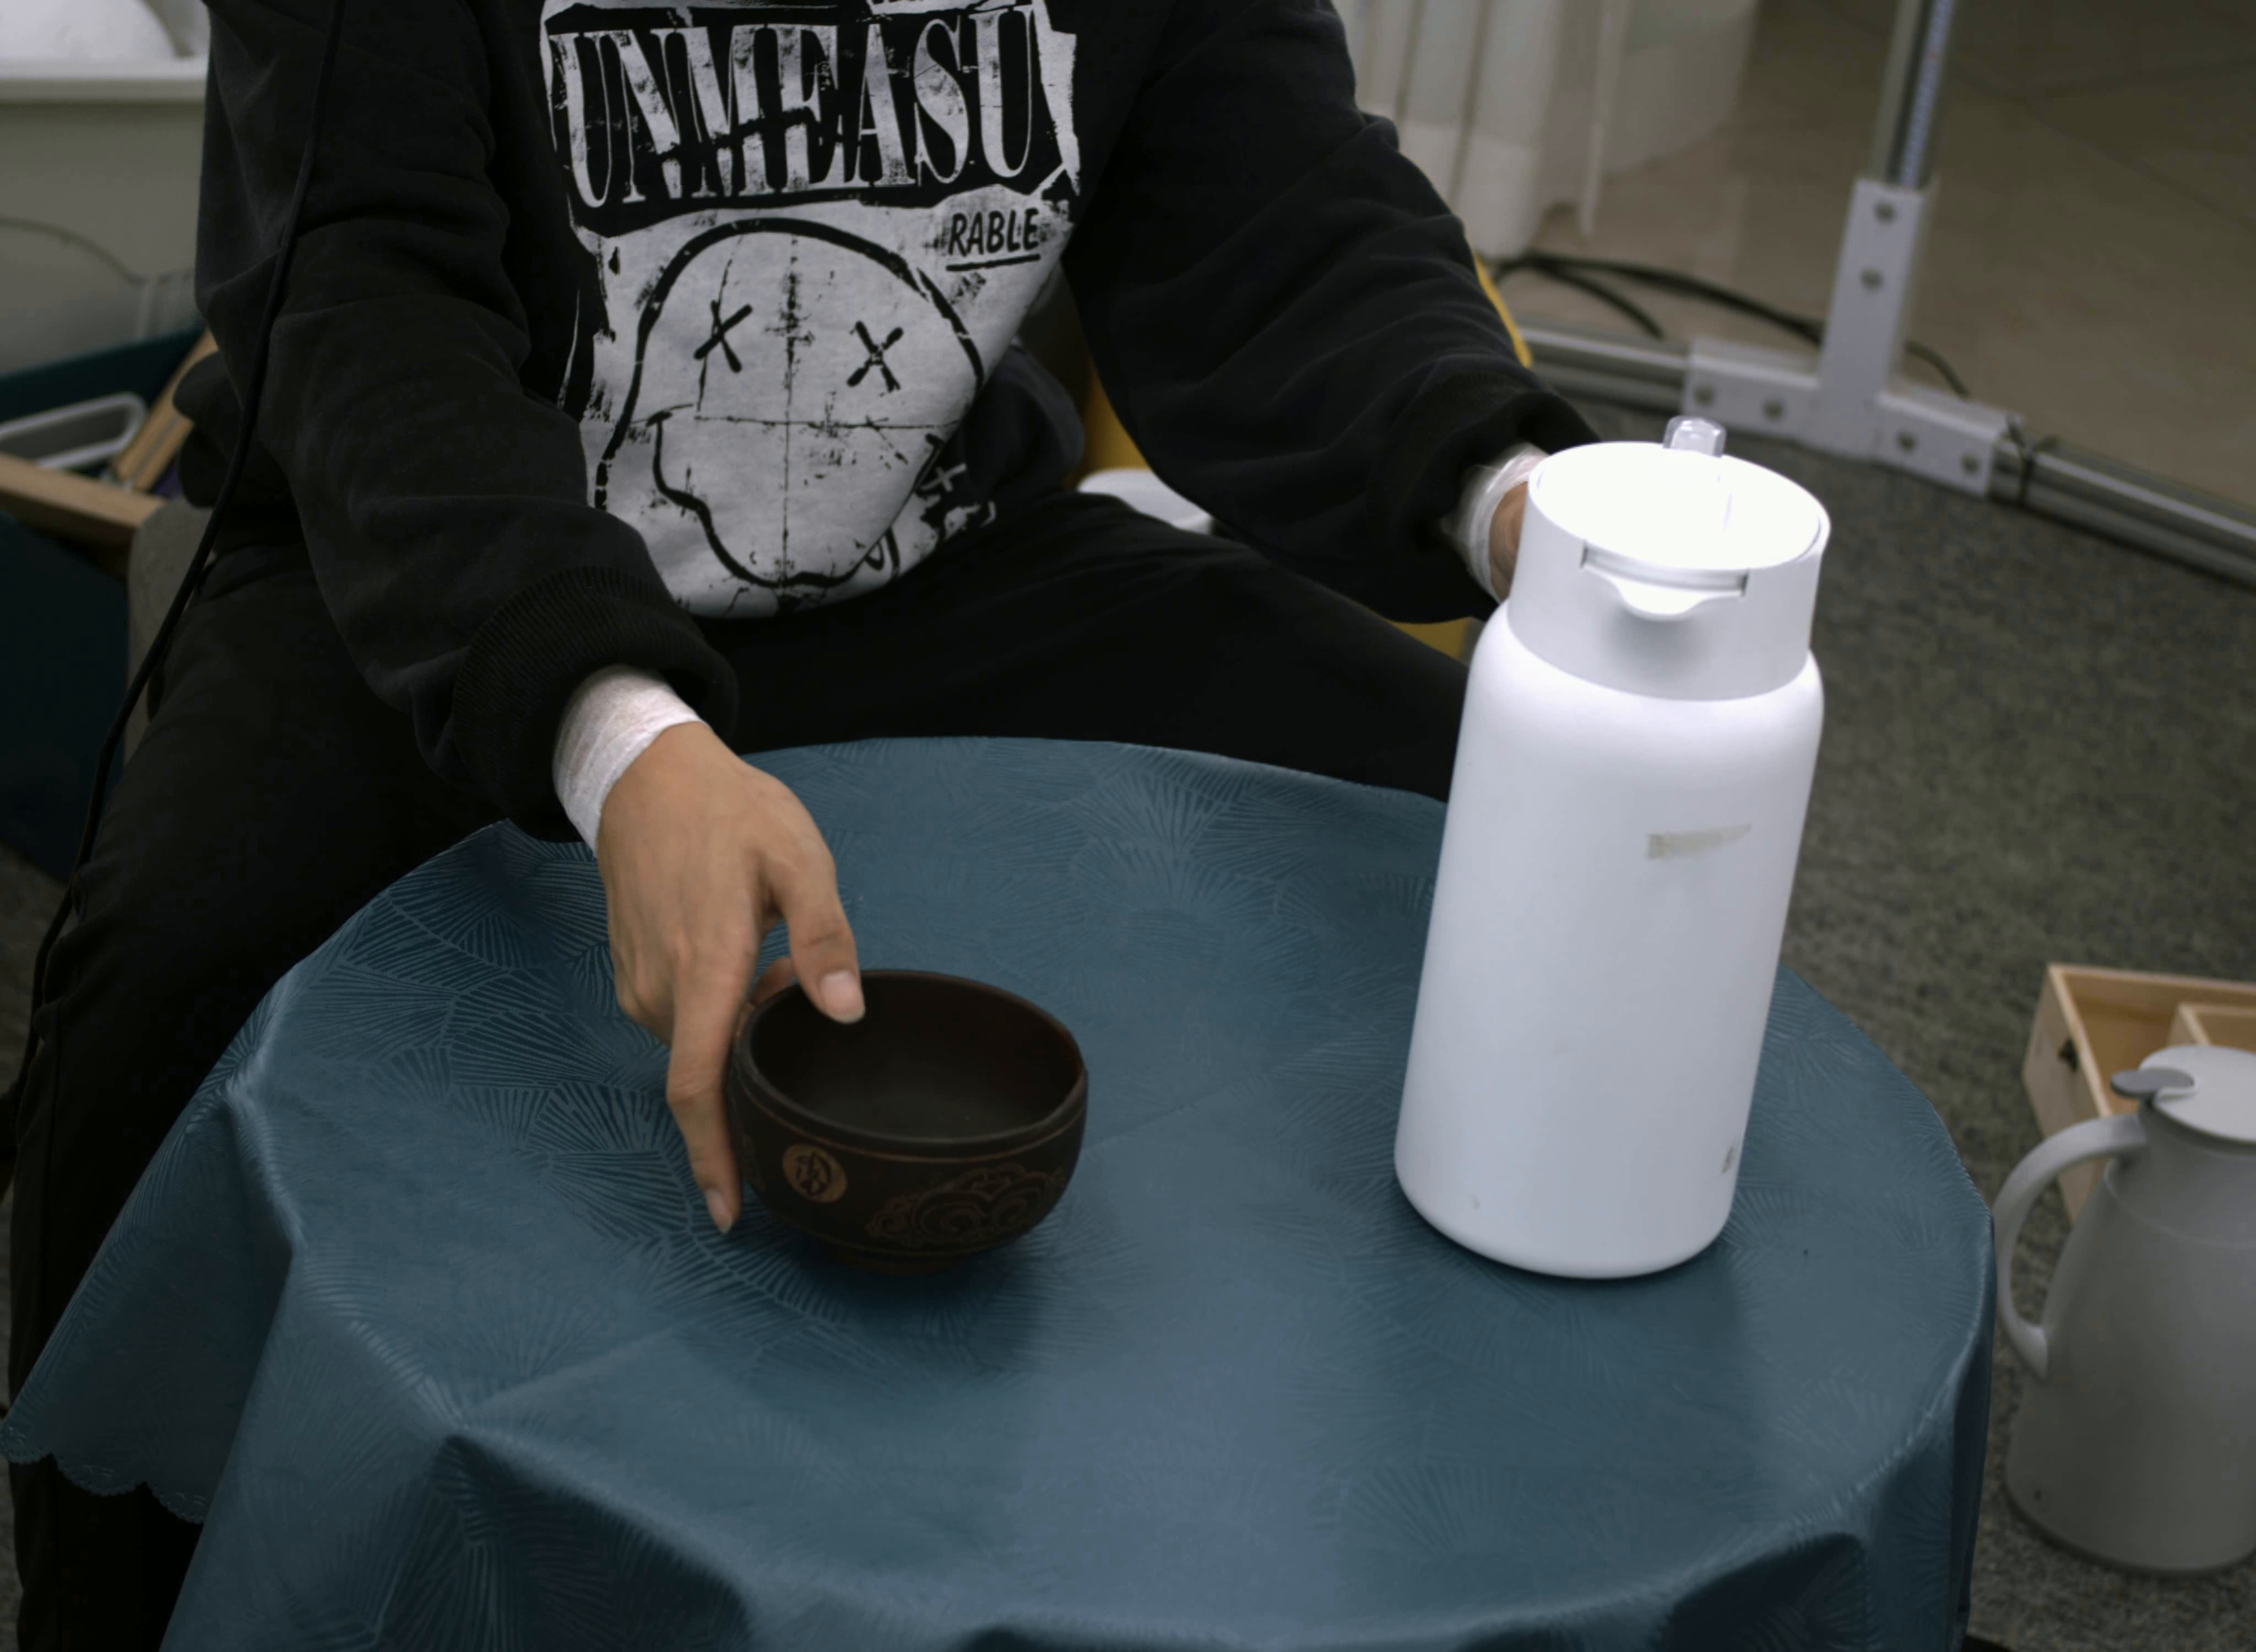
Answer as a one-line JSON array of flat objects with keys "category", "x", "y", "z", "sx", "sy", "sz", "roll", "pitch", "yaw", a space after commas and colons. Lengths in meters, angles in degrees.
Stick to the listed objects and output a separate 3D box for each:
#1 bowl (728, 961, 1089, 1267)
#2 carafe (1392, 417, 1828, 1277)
[{"category": "bowl", "x": -0.074, "y": 0.101, "z": 1.750, "sx": 0.117, "sy": 0.069, "sz": 0.119, "roll": 5, "pitch": 26, "yaw": -3}, {"category": "carafe", "x": 0.163, "y": 0.003, "z": 1.785, "sx": 0.124, "sy": 0.268, "sz": 0.173, "roll": 8, "pitch": 27, "yaw": 6}]
